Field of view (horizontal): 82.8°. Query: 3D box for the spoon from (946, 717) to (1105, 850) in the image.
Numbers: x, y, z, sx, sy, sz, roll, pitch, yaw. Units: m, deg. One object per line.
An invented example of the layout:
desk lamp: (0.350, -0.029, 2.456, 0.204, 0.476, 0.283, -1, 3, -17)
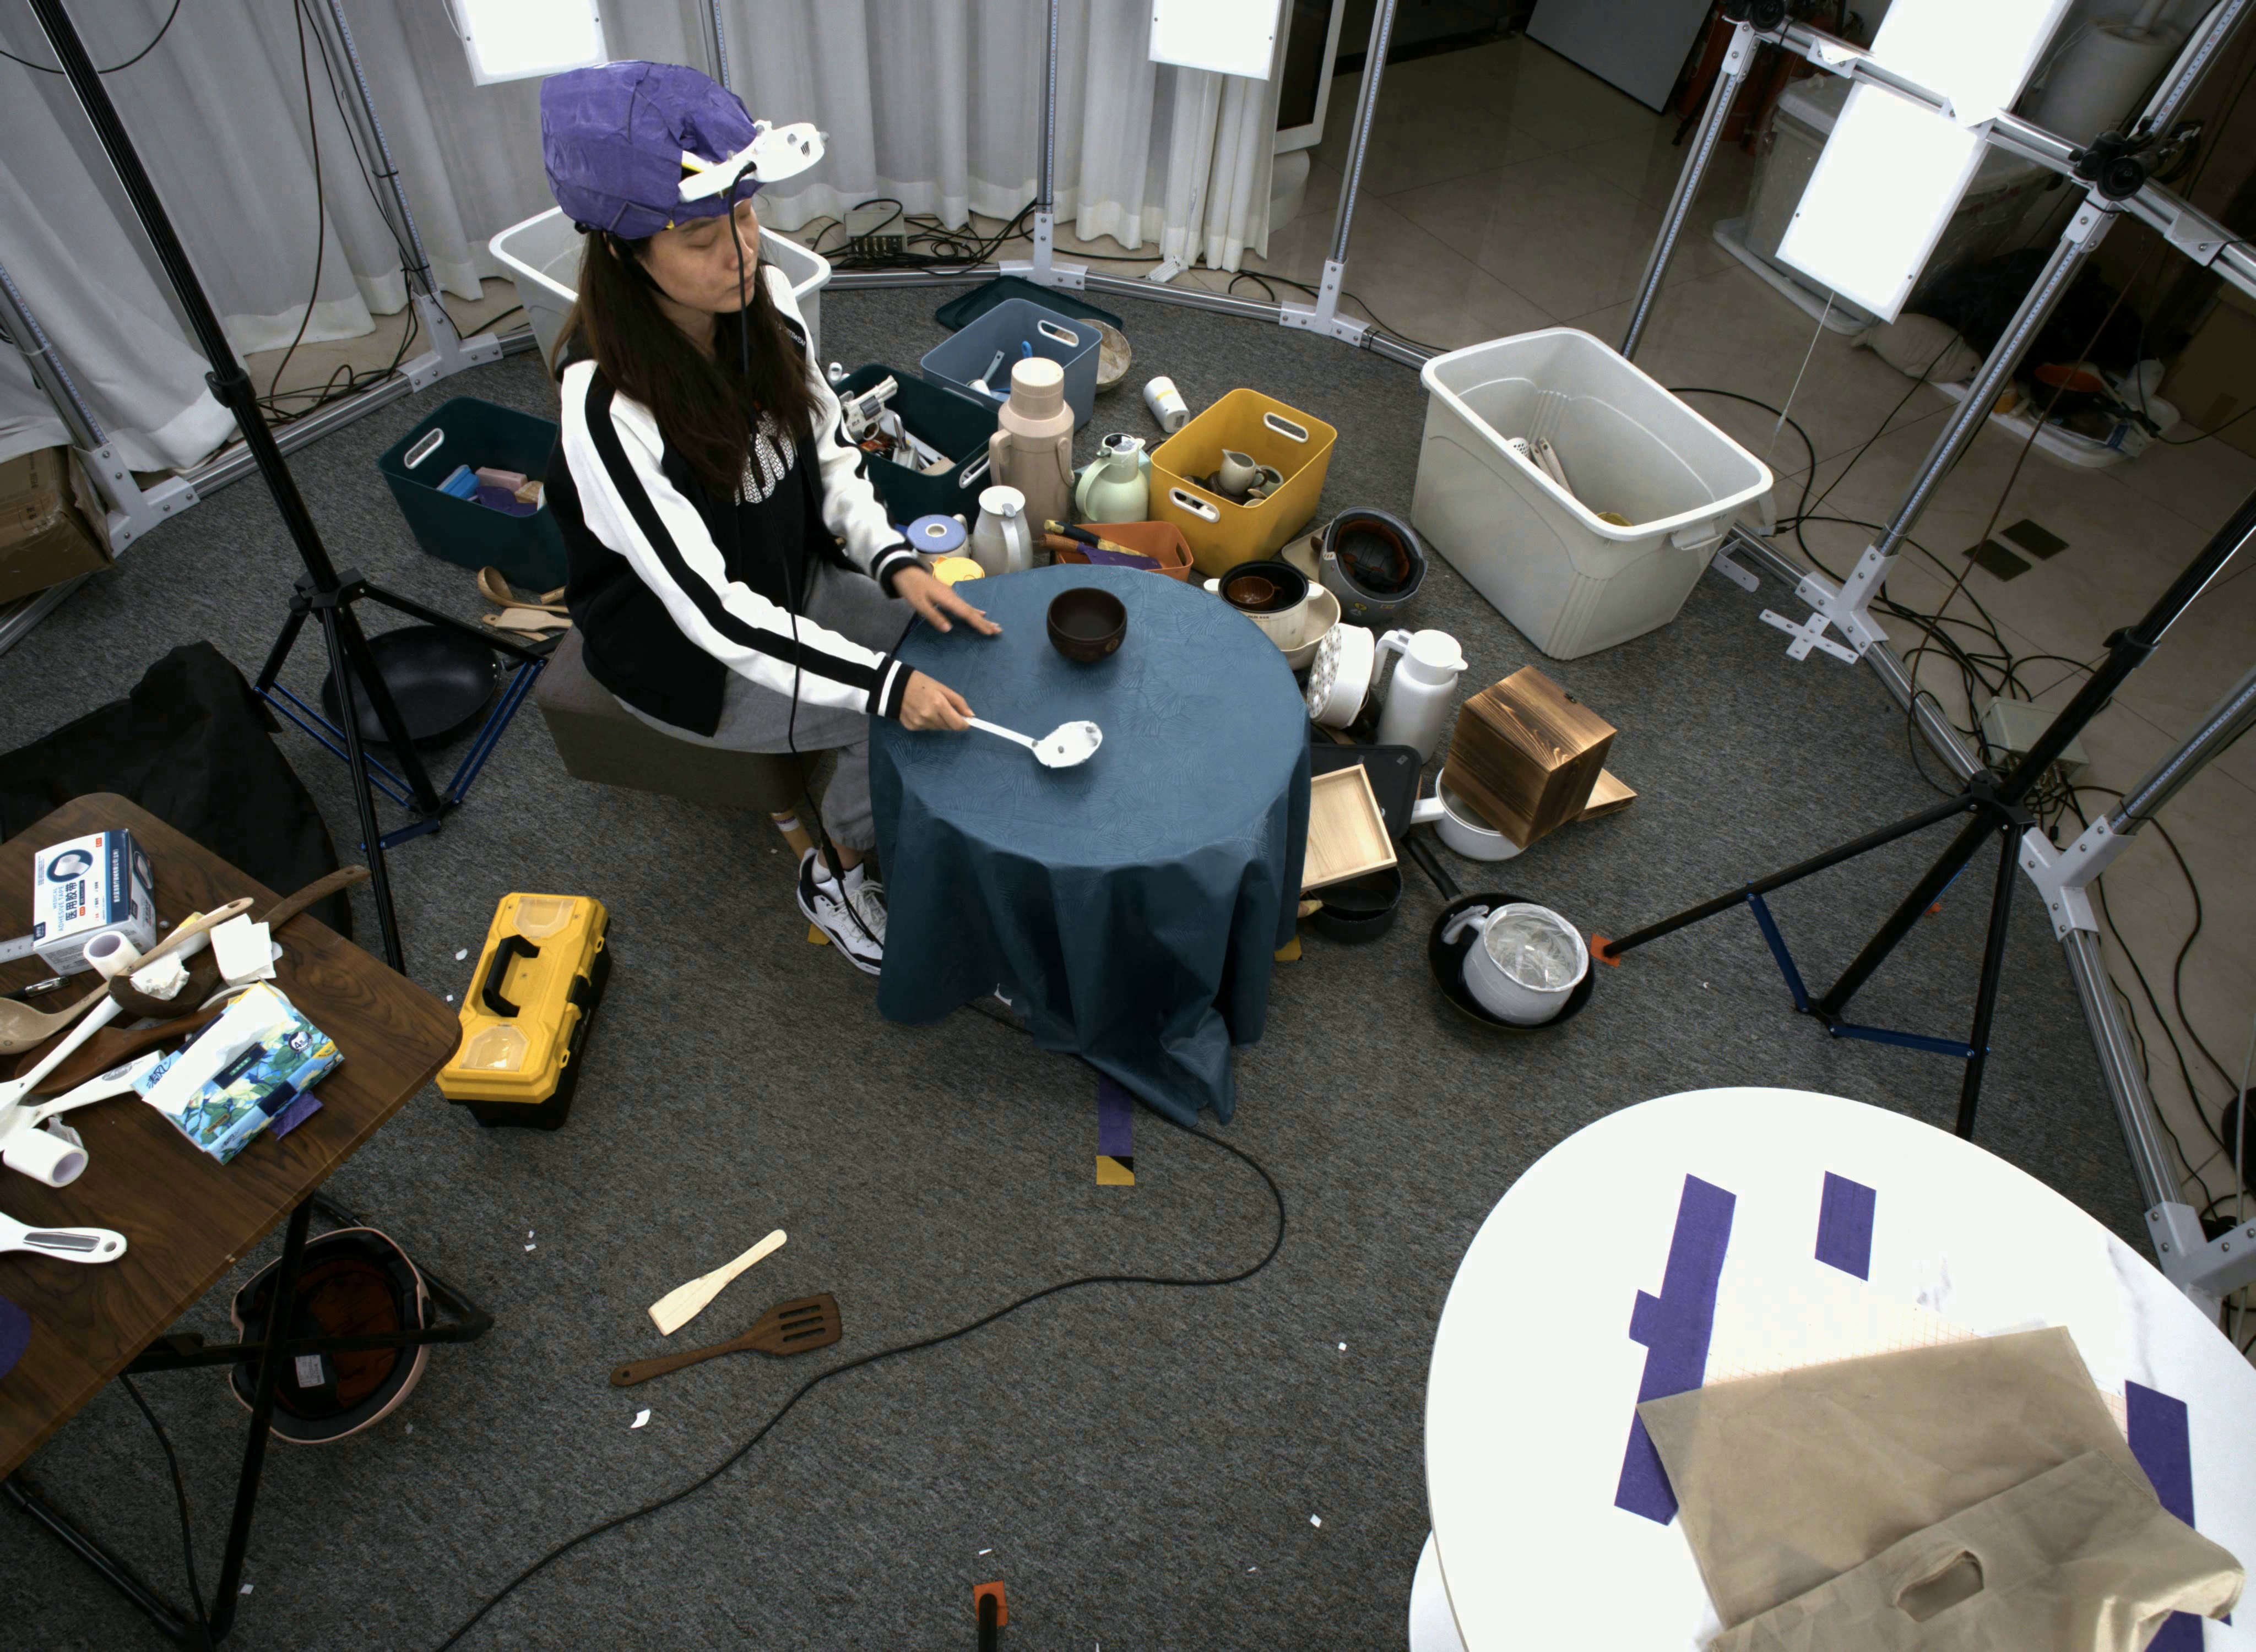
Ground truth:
spoon: (-0.142, -0.049, 1.756, 0.058, 0.275, 0.103, 35, 19, -25)

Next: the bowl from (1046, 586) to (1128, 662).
bowl: (-0.060, -0.285, 1.866, 0.118, 0.068, 0.121, 2, 49, -3)
